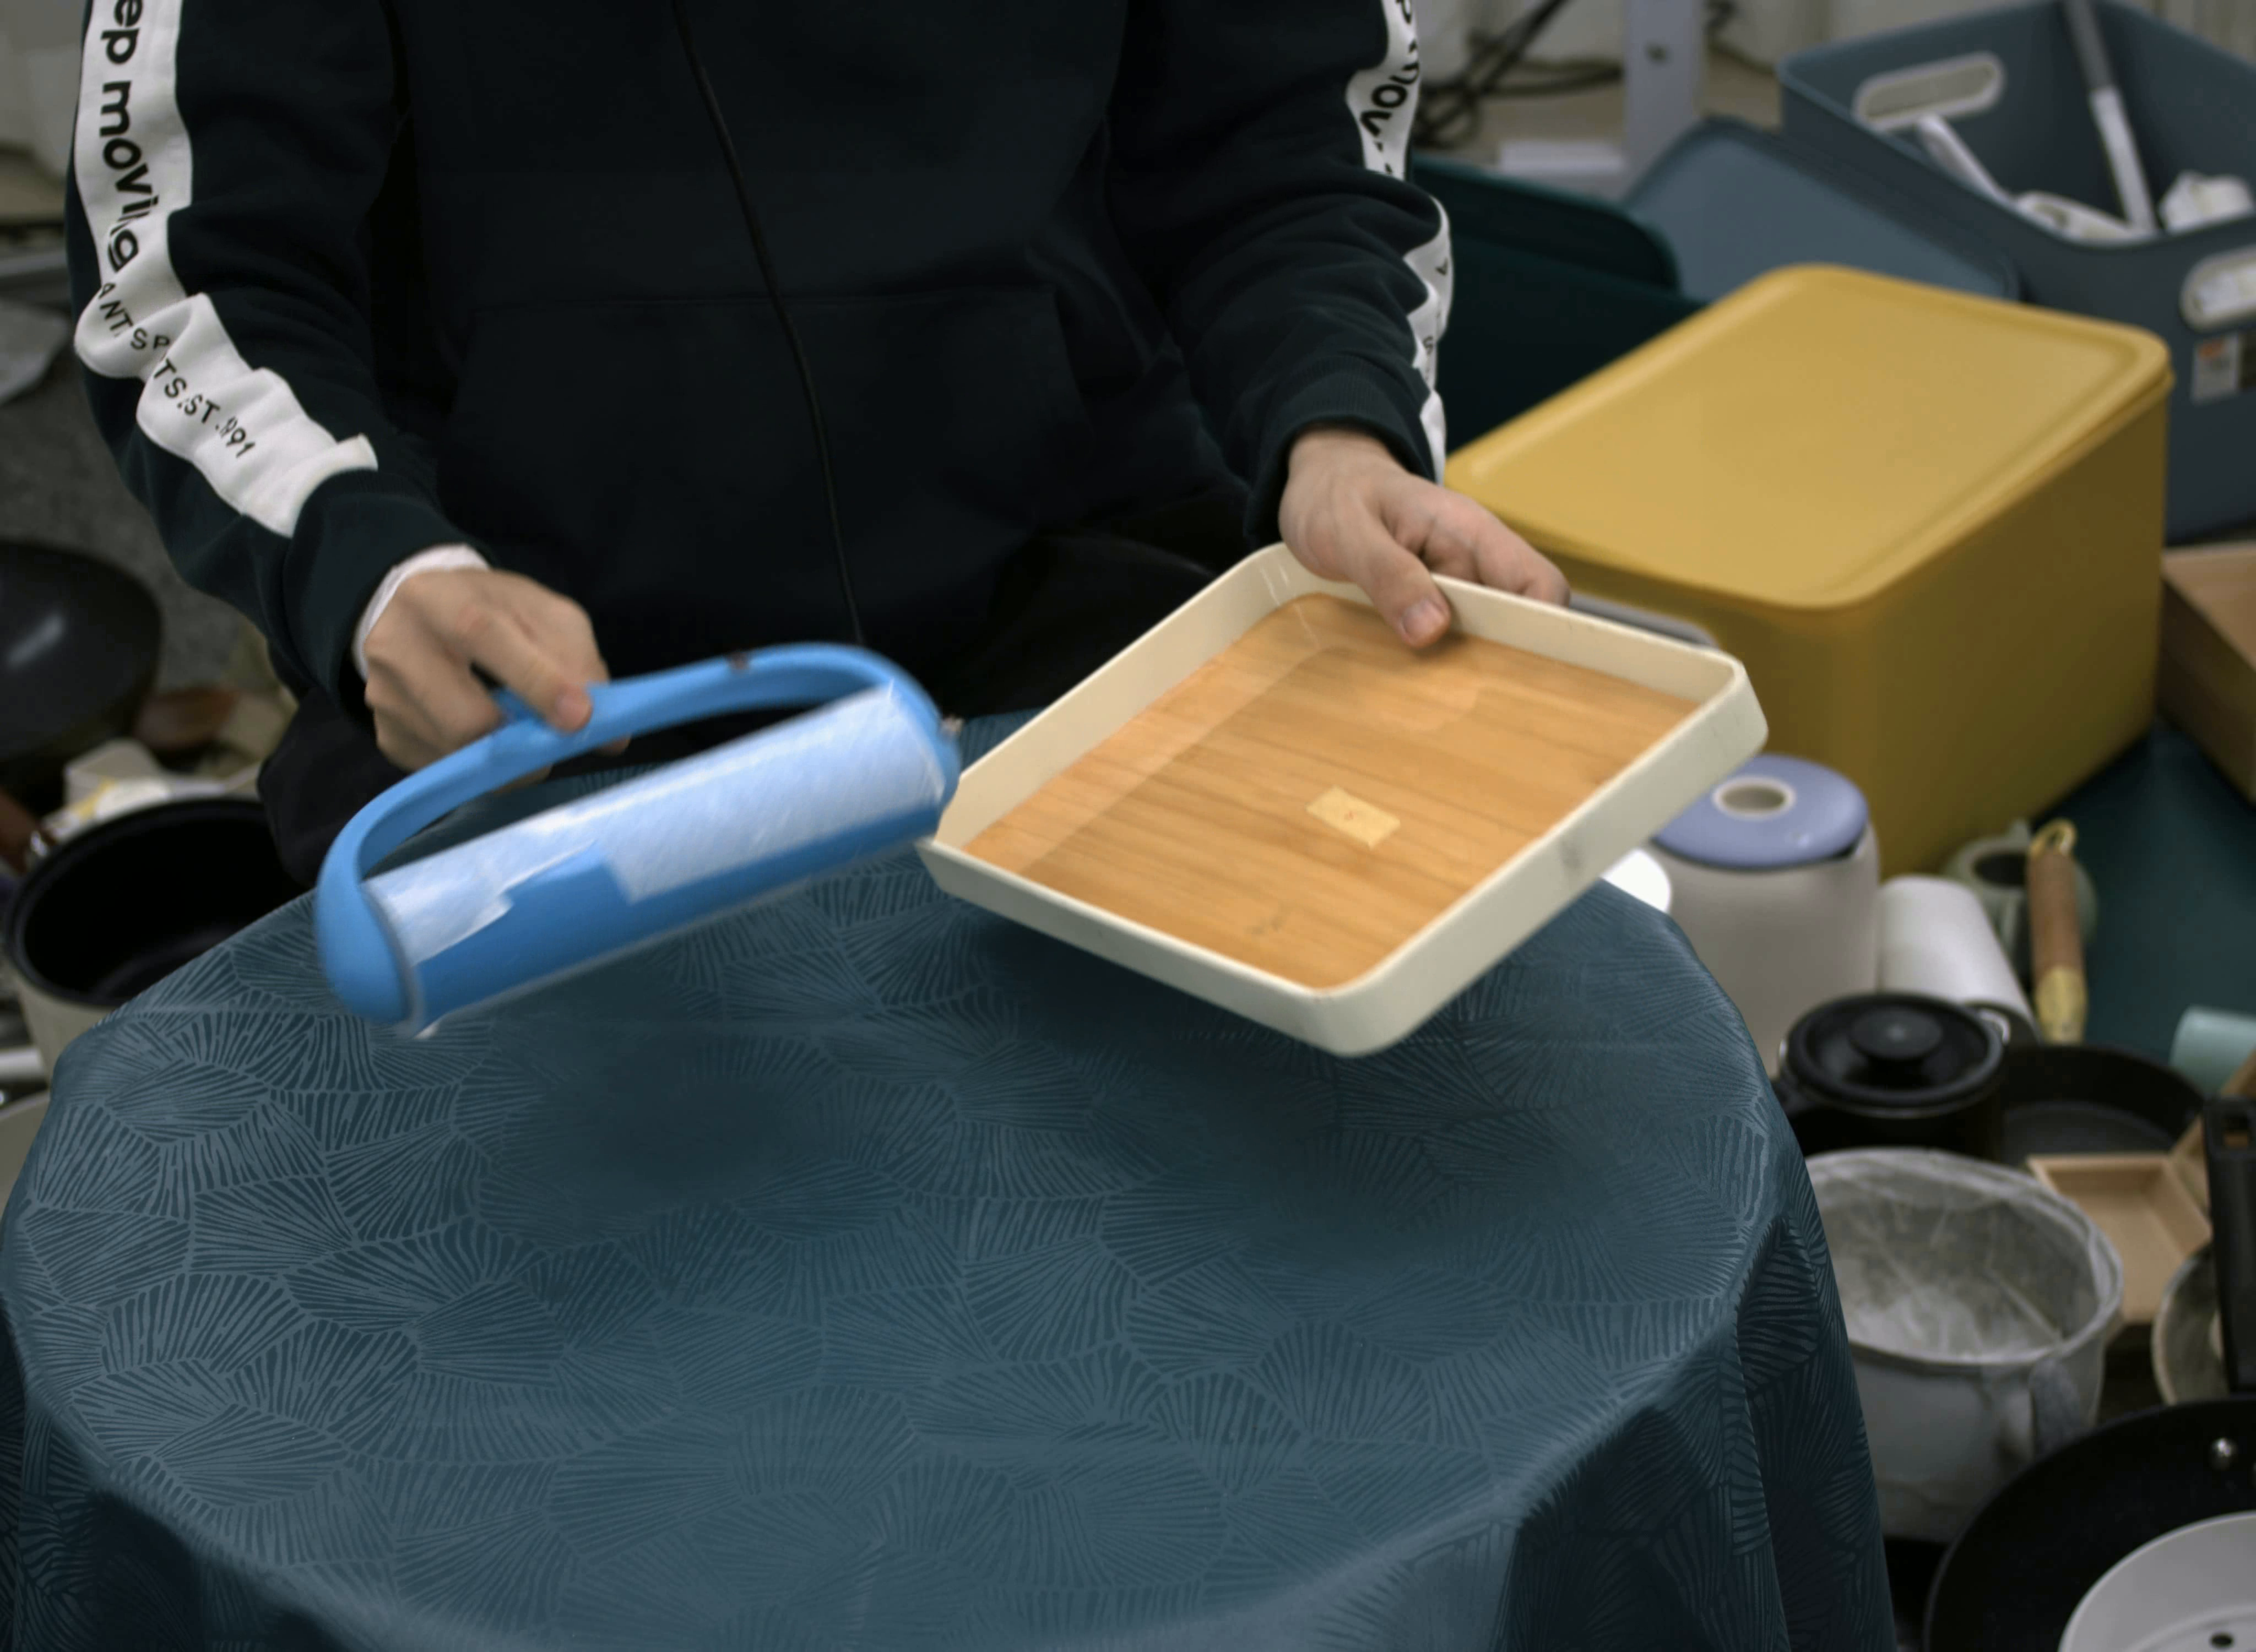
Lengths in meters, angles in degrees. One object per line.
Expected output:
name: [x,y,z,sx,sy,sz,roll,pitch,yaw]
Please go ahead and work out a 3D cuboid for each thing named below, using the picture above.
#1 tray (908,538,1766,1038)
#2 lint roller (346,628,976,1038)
tray: [0.065,-0.018,1.915,0.193,0.027,0.299,-37,26,-19]
lint roller: [-0.184,-0.016,1.883,0.231,0.067,0.181,-27,37,-27]
